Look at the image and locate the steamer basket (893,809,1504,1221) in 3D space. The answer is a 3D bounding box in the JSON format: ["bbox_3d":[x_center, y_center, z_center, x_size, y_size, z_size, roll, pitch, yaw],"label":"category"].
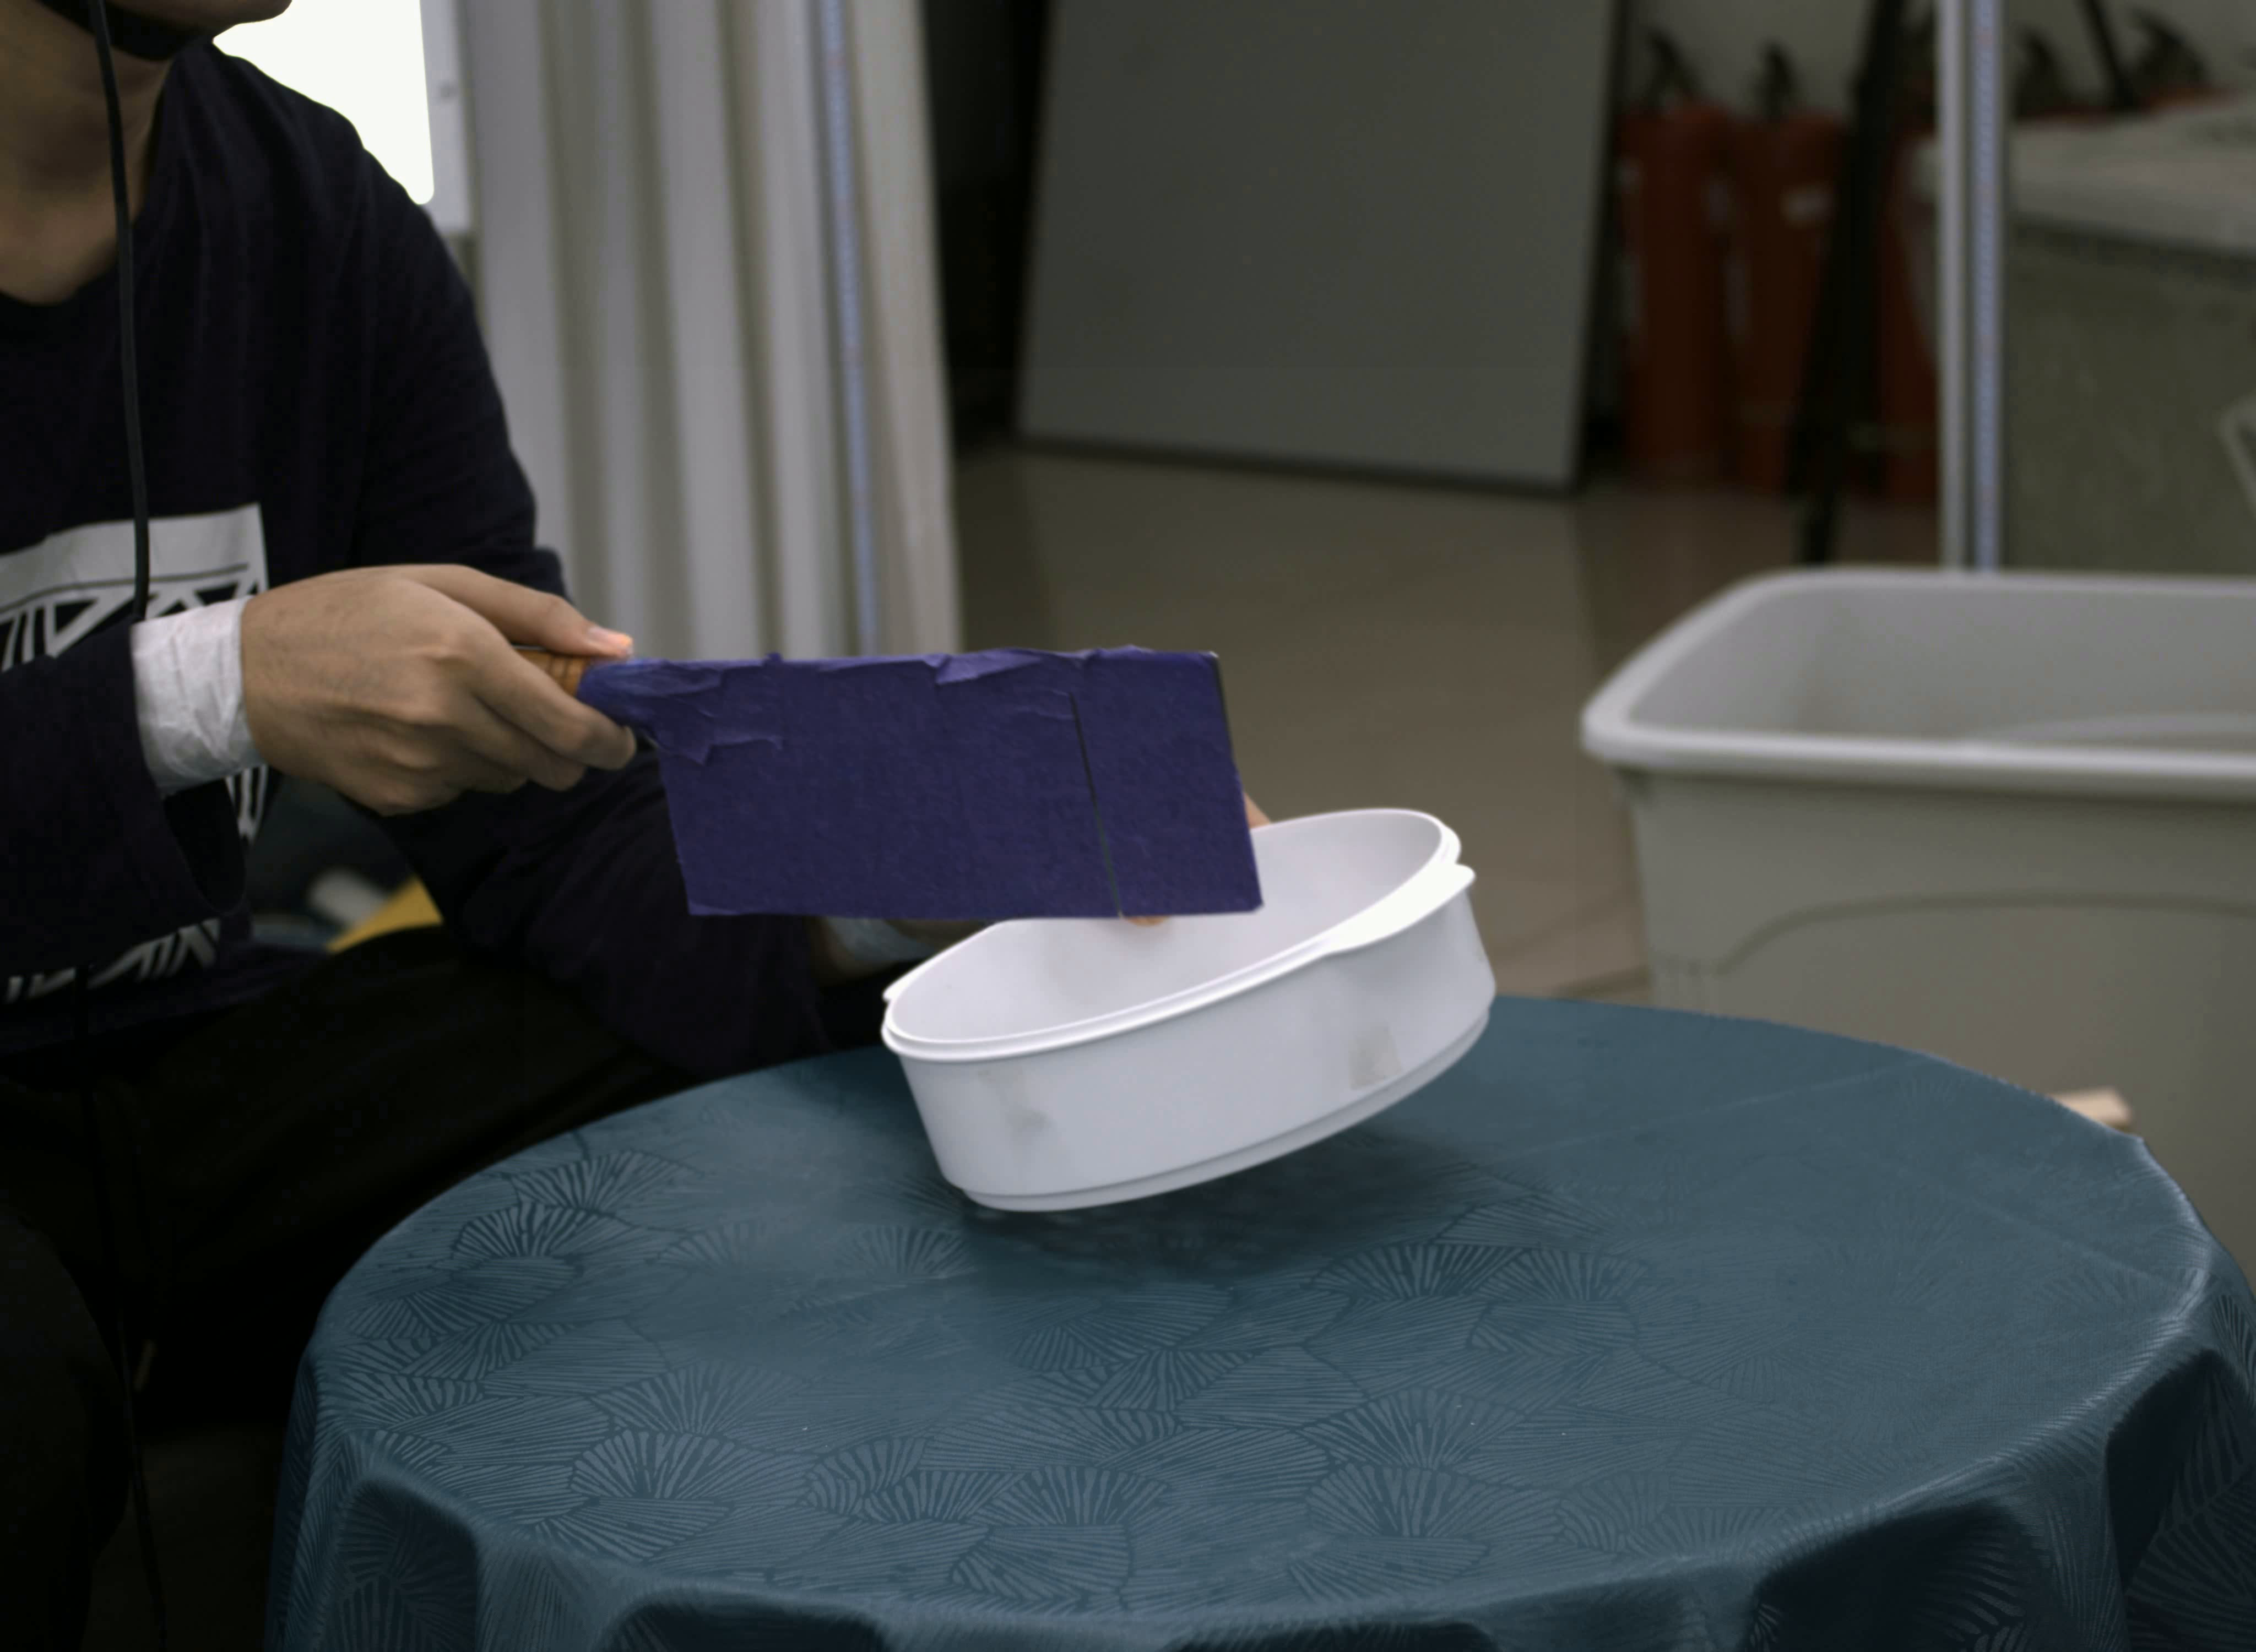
[{"bbox_3d":[0.026,0.063,1.759,0.232,0.070,0.198,-14,12,44],"label":"steamer basket"}]

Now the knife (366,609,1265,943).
[{"bbox_3d":[-0.104,-0.013,1.732,0.316,0.105,0.032,-1,18,29],"label":"knife"}]
